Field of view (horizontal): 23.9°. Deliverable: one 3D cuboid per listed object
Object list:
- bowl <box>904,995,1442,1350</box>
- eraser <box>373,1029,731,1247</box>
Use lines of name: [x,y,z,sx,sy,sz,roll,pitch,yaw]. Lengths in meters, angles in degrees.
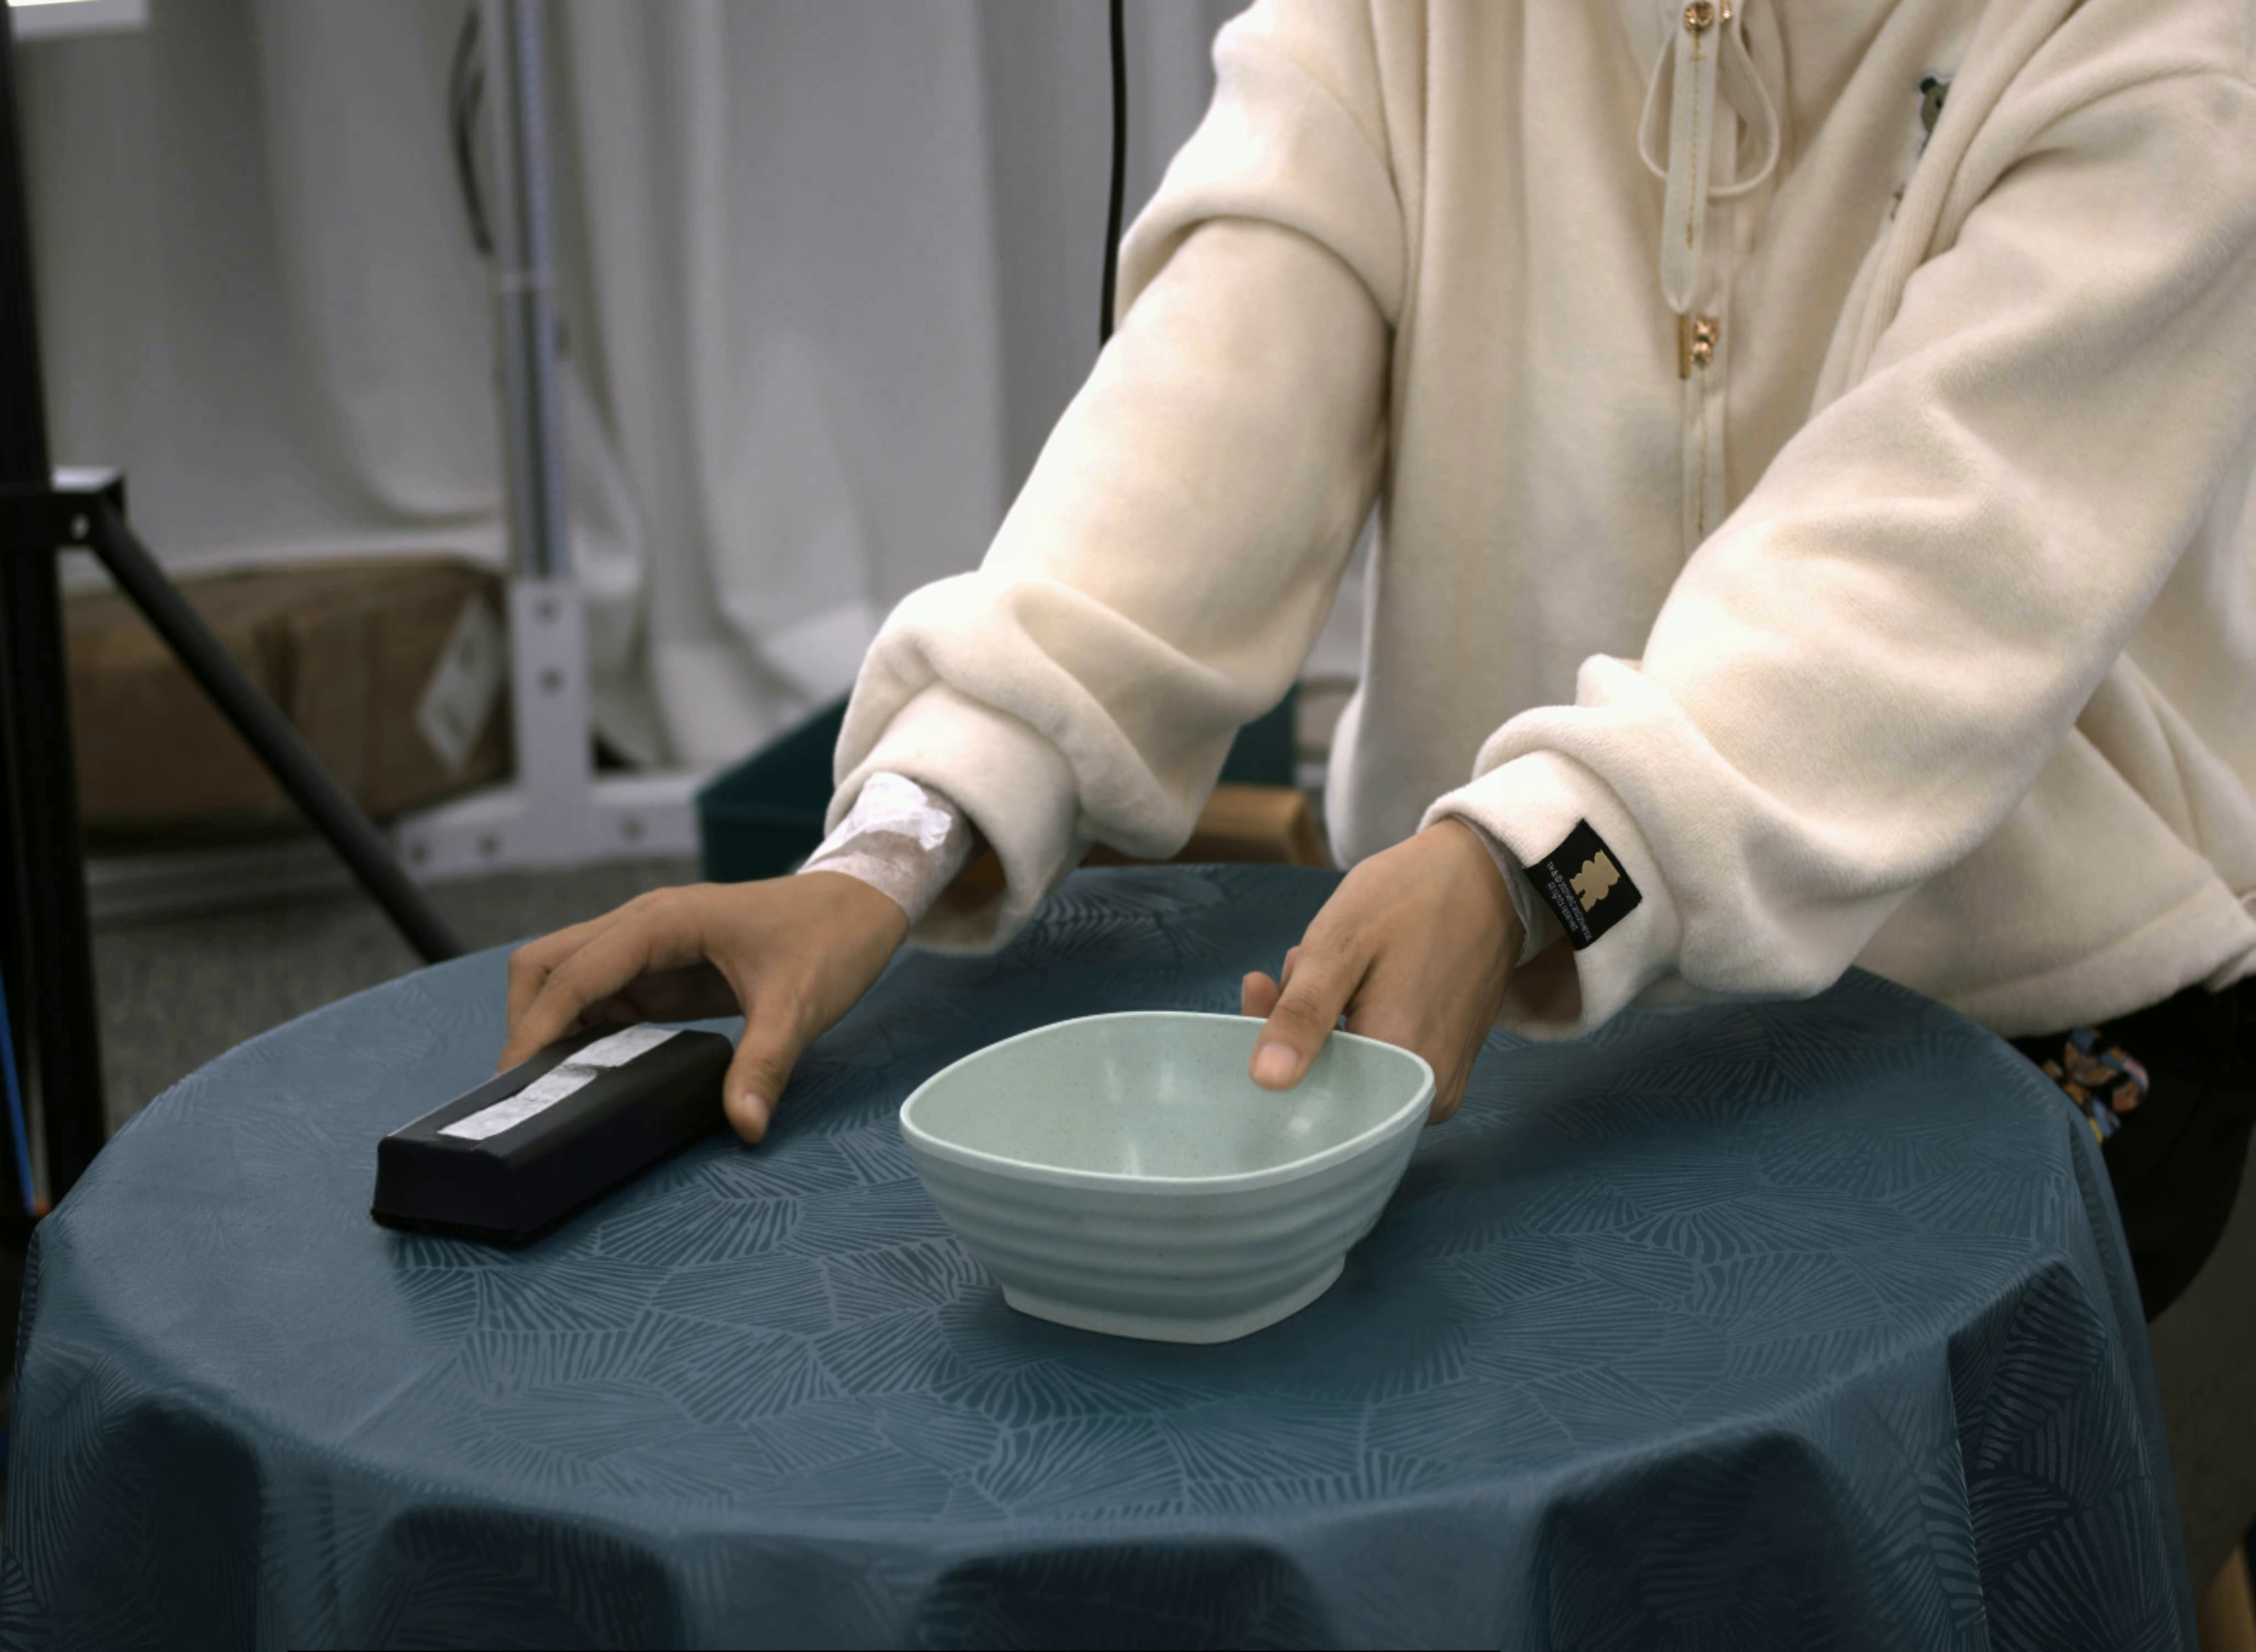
bowl: [0.013,0.100,1.476,0.150,0.058,0.152,-1,18,-1]
eraser: [-0.170,0.092,1.593,0.054,0.030,0.123,6,16,25]
